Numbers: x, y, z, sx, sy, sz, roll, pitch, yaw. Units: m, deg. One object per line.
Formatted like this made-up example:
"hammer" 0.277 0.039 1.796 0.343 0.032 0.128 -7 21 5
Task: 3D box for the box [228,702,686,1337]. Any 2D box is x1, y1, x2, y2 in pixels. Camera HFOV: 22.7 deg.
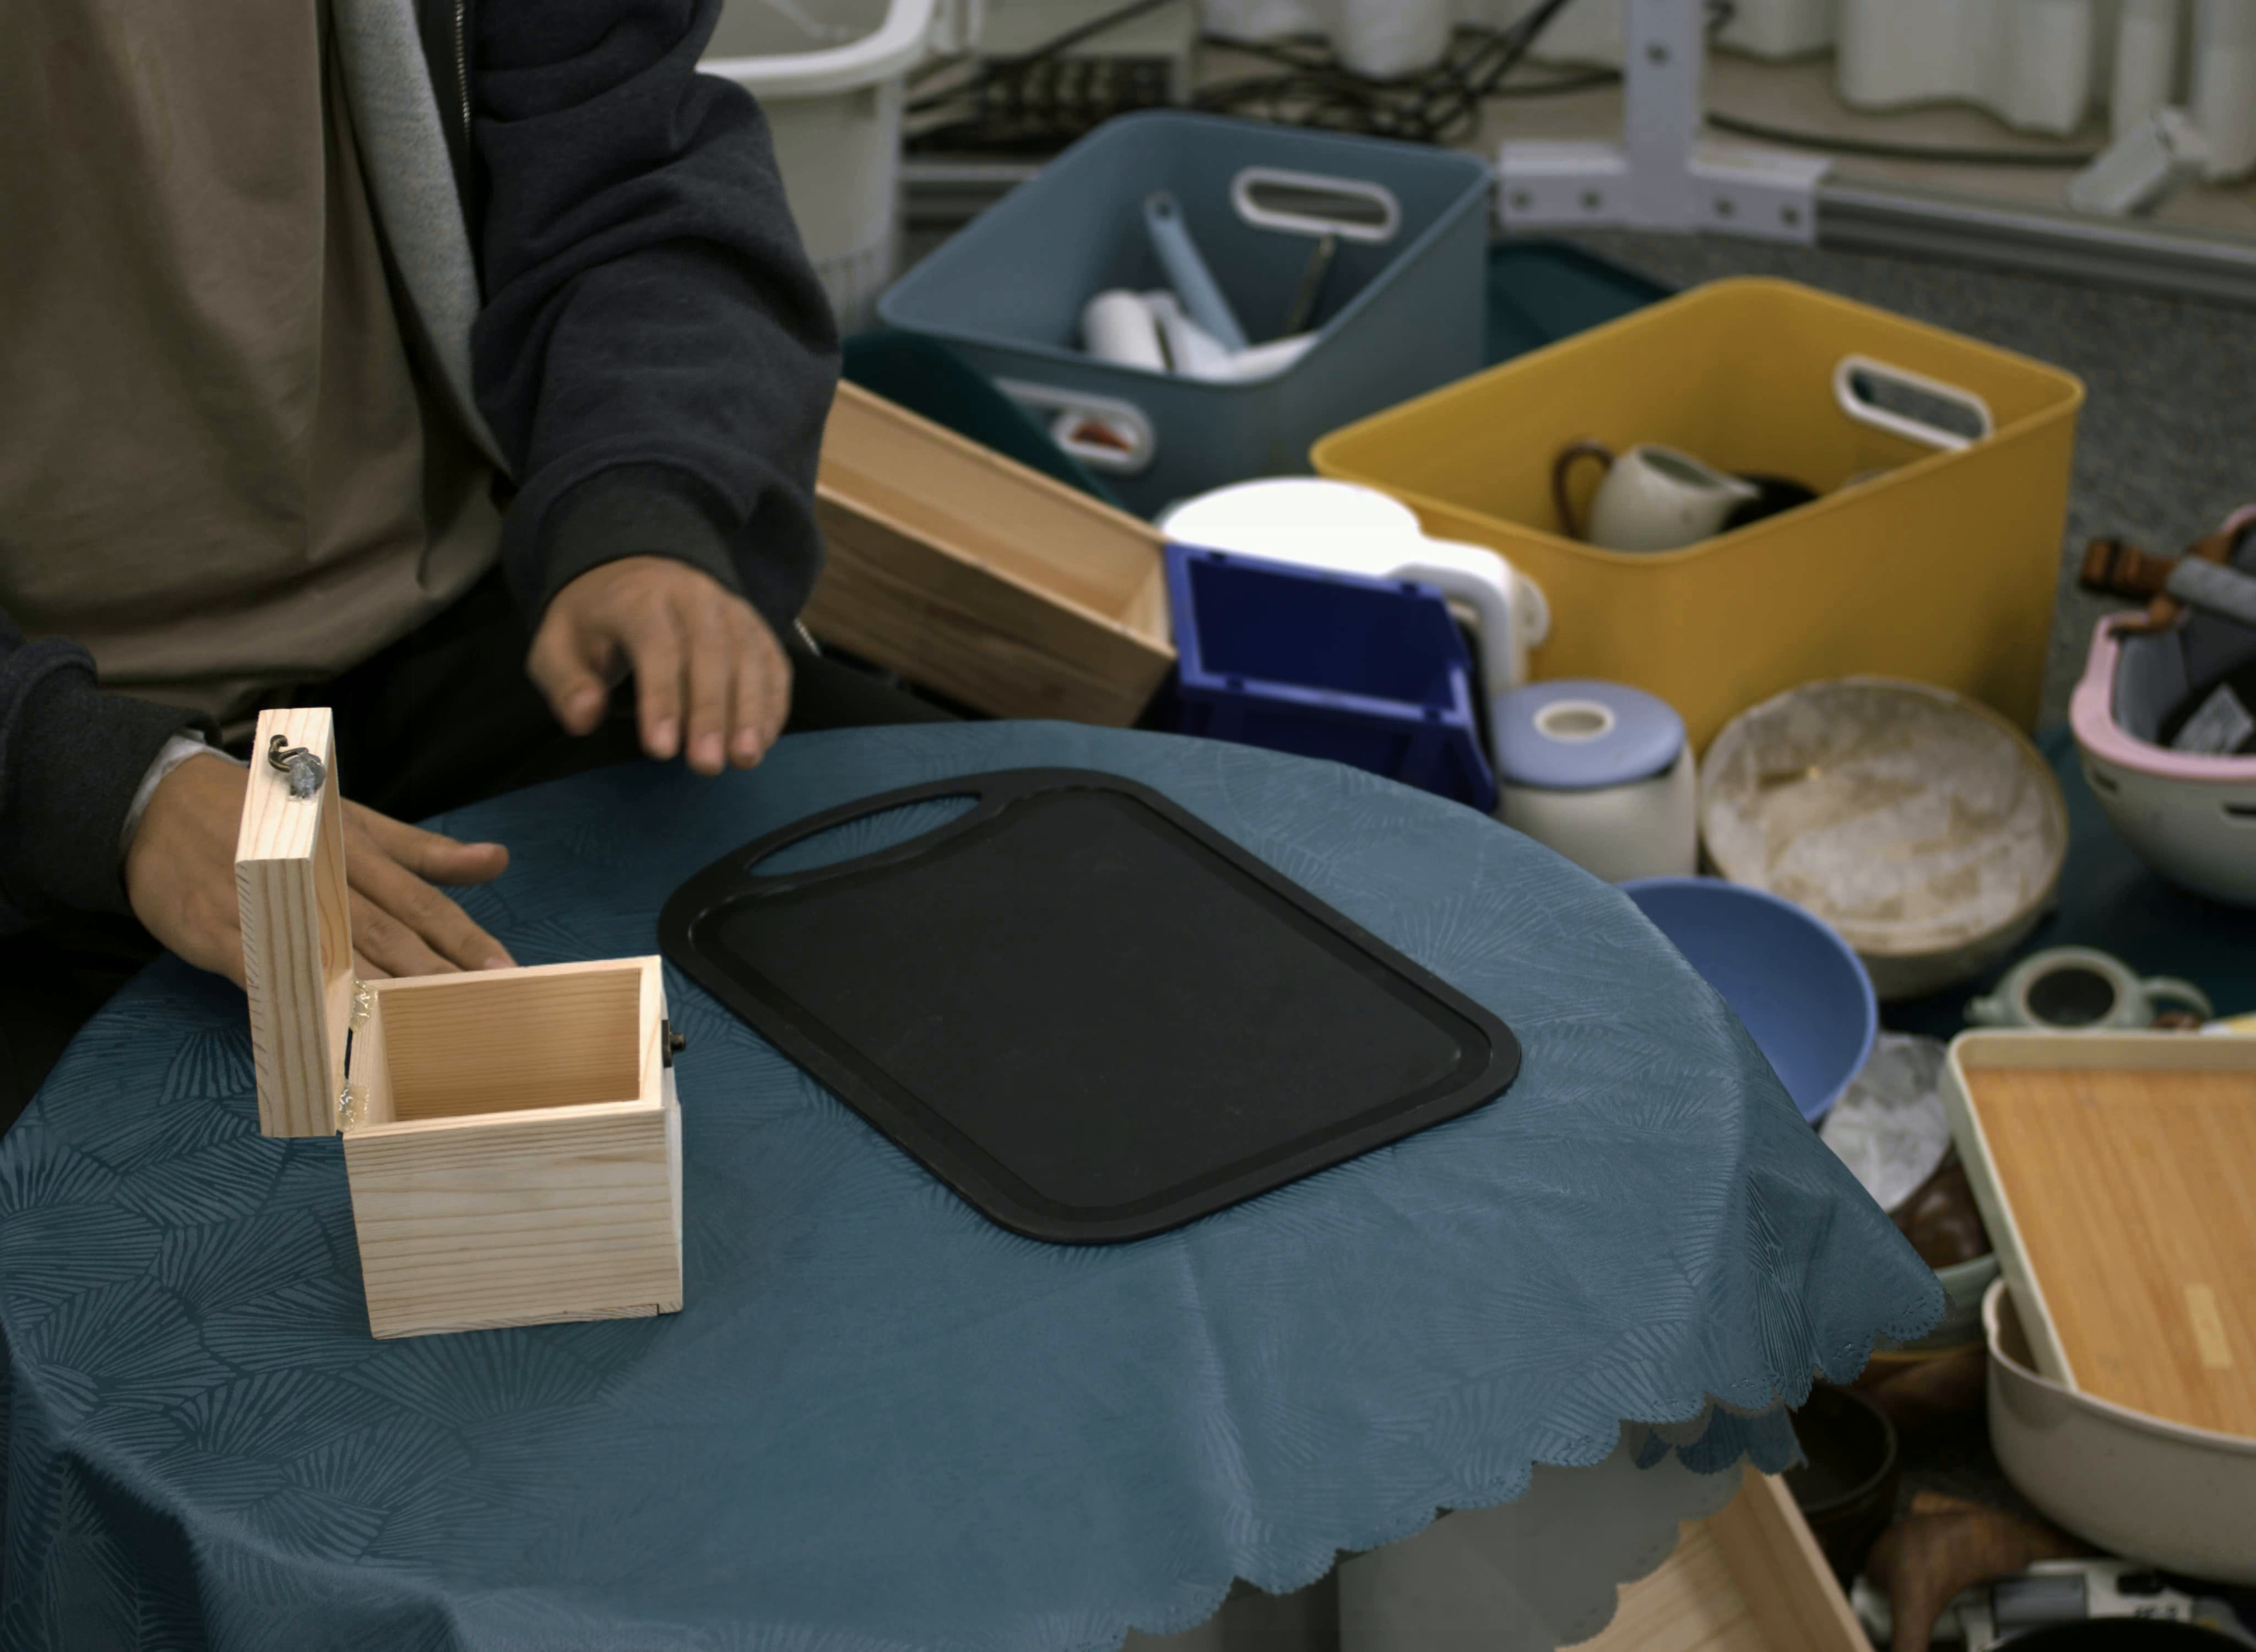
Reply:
"box" -0.211 0.058 1.807 0.133 0.182 0.104 -6 27 -2

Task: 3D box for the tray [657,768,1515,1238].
"tray" -0.024 0.053 1.989 0.212 0.009 0.326 -18 31 -27
